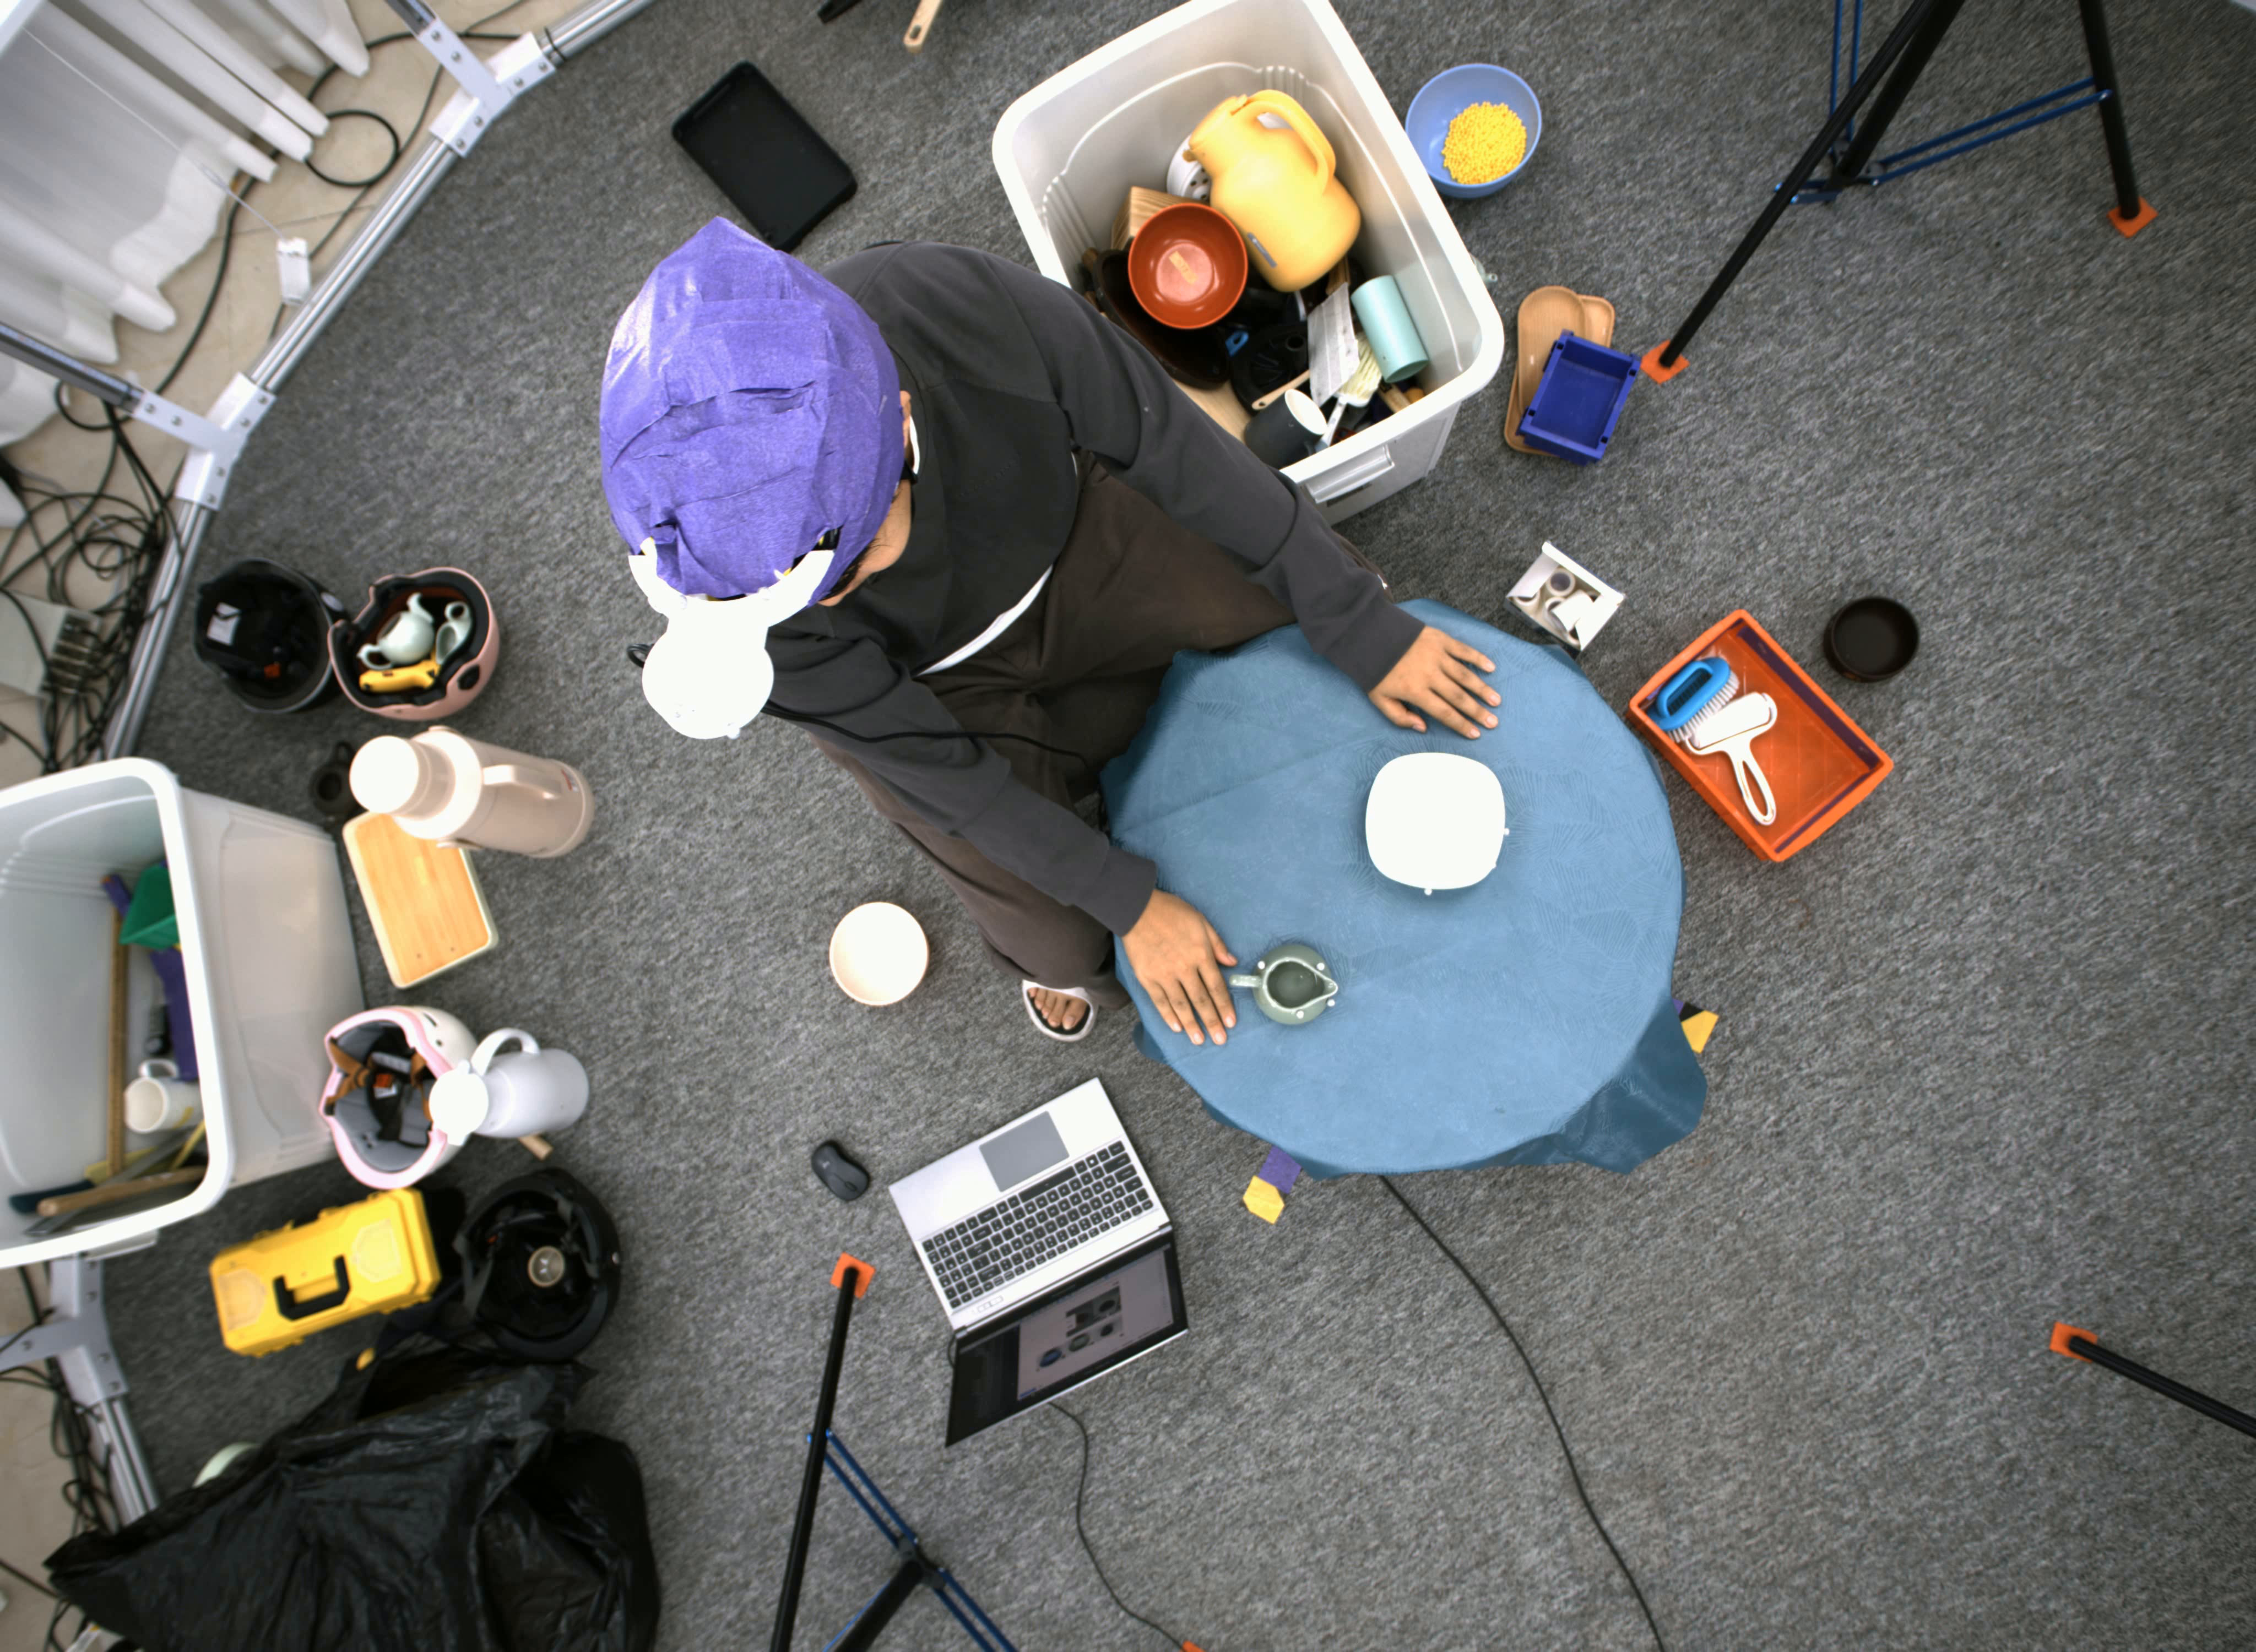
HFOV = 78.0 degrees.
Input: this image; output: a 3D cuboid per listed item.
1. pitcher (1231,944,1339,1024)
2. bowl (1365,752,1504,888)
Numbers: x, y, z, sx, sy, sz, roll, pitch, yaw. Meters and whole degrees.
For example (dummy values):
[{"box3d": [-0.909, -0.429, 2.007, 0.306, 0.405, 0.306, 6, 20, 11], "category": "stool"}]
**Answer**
[{"box3d": [0.165, 0.164, 1.448, 0.113, 0.056, 0.084, 1, 85, 12], "category": "pitcher"}, {"box3d": [0.316, -0.006, 1.429, 0.152, 0.058, 0.151, -1, 87, 10], "category": "bowl"}]
